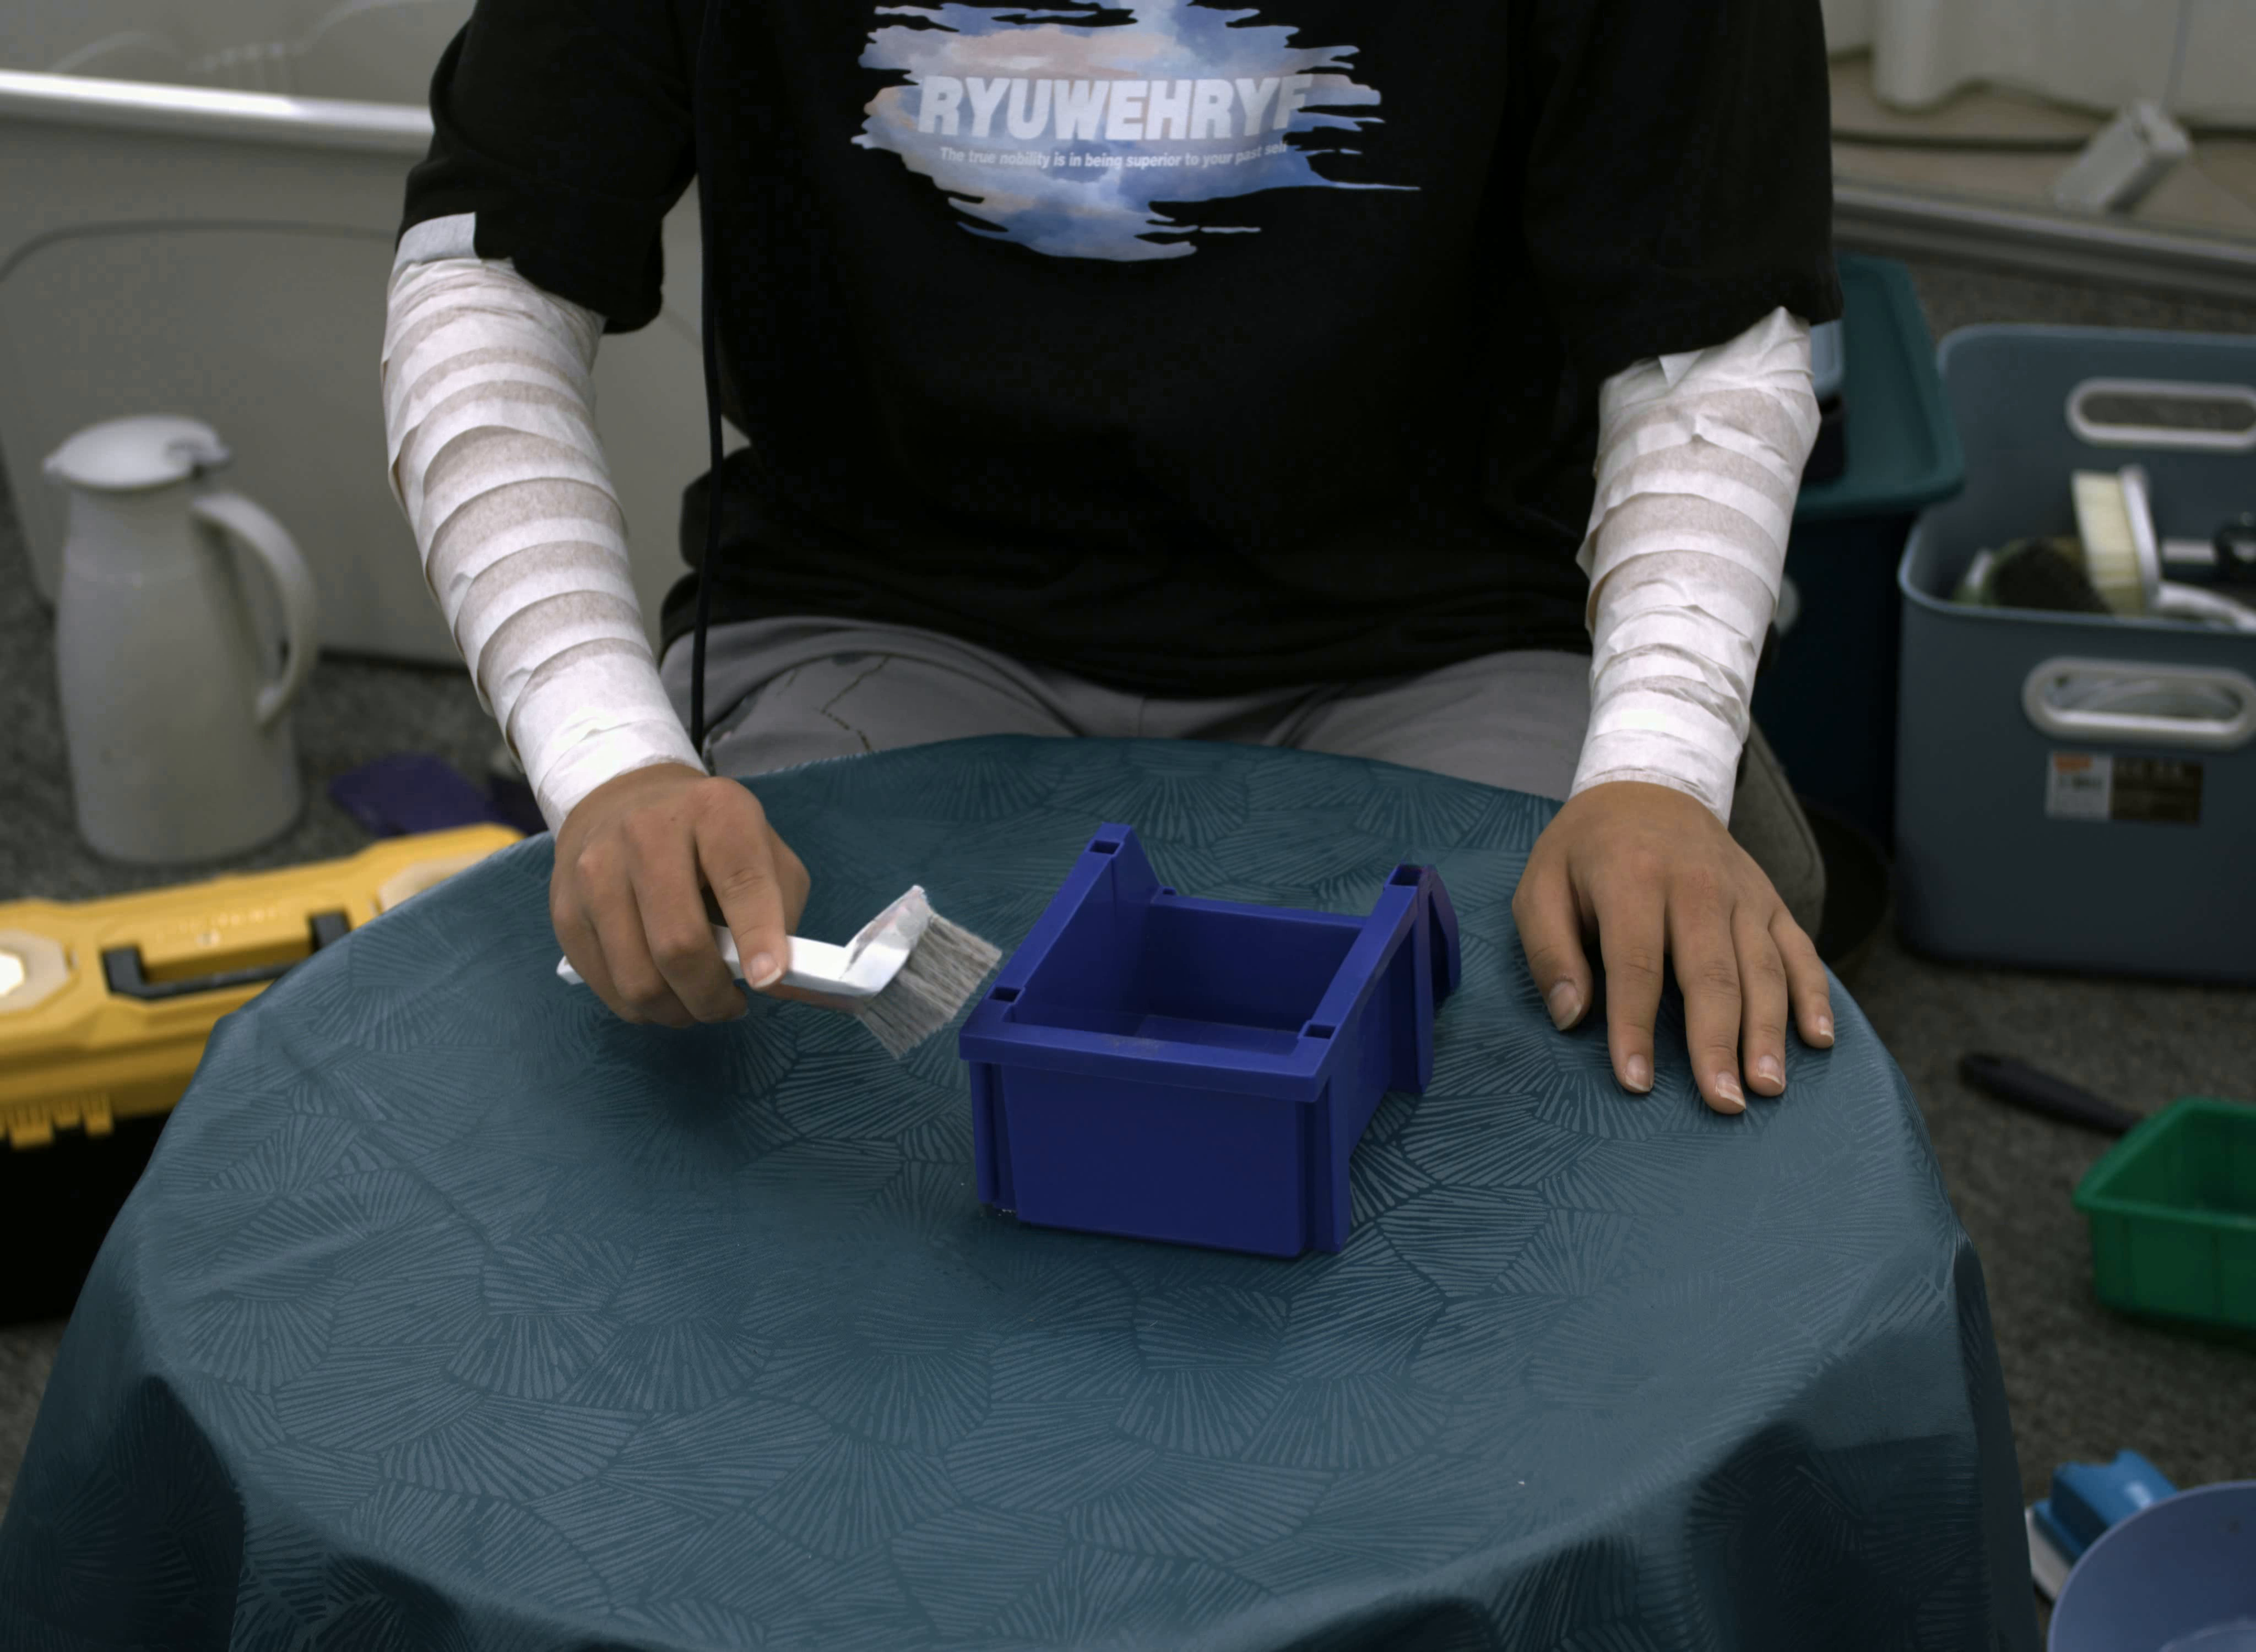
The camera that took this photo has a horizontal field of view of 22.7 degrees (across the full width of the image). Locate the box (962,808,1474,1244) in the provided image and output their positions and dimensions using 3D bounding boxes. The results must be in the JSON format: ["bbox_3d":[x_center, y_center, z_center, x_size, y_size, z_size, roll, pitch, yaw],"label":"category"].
[{"bbox_3d":[0.032,0.062,1.888,0.123,0.081,0.182,6,30,18],"label":"box"}]

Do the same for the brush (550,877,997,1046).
[{"bbox_3d":[-0.119,0.052,1.885,0.241,0.050,0.035,-9,40,56],"label":"brush"}]
